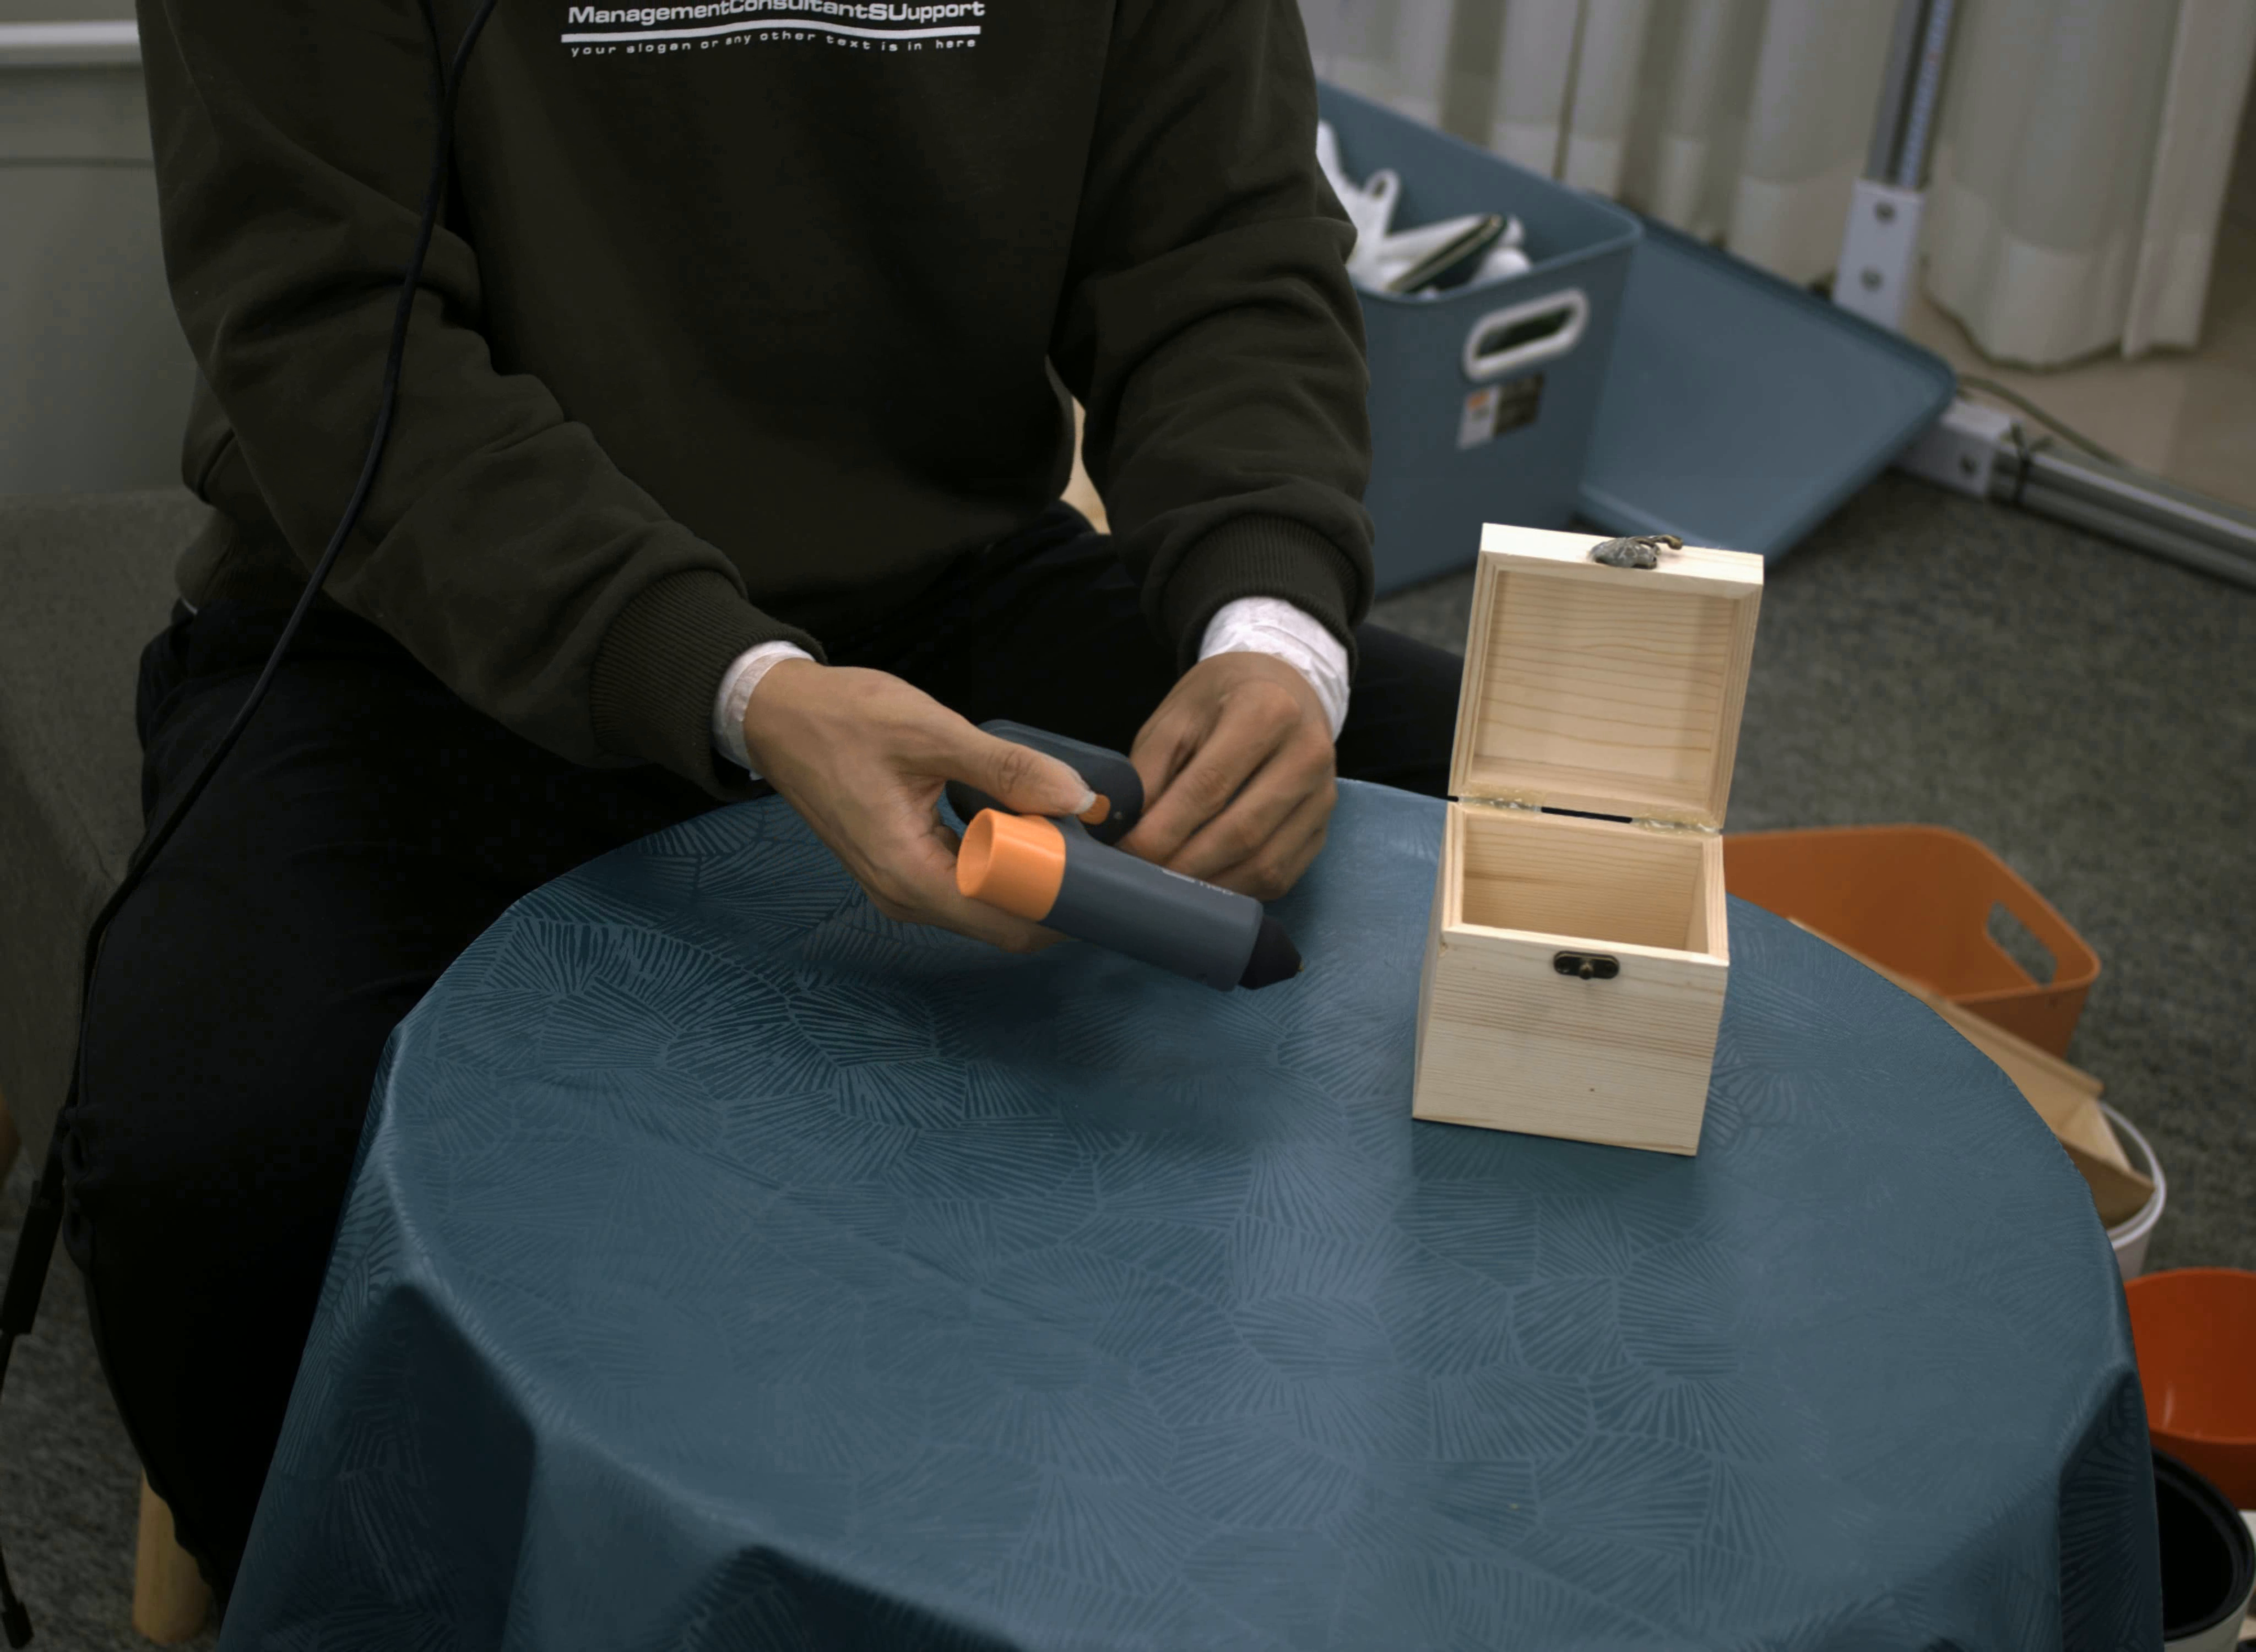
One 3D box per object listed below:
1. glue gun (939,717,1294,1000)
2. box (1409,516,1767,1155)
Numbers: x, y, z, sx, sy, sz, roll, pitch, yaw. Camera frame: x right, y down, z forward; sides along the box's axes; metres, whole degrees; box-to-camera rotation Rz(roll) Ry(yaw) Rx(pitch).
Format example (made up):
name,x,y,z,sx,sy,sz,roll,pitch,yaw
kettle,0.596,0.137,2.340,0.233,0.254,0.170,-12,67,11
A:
name,x,y,z,sx,sy,sz,roll,pitch,yaw
glue gun,-0.009,0.013,1.890,0.117,0.041,0.141,20,15,-24
box,0.163,0.002,1.882,0.102,0.184,0.134,7,28,-1
